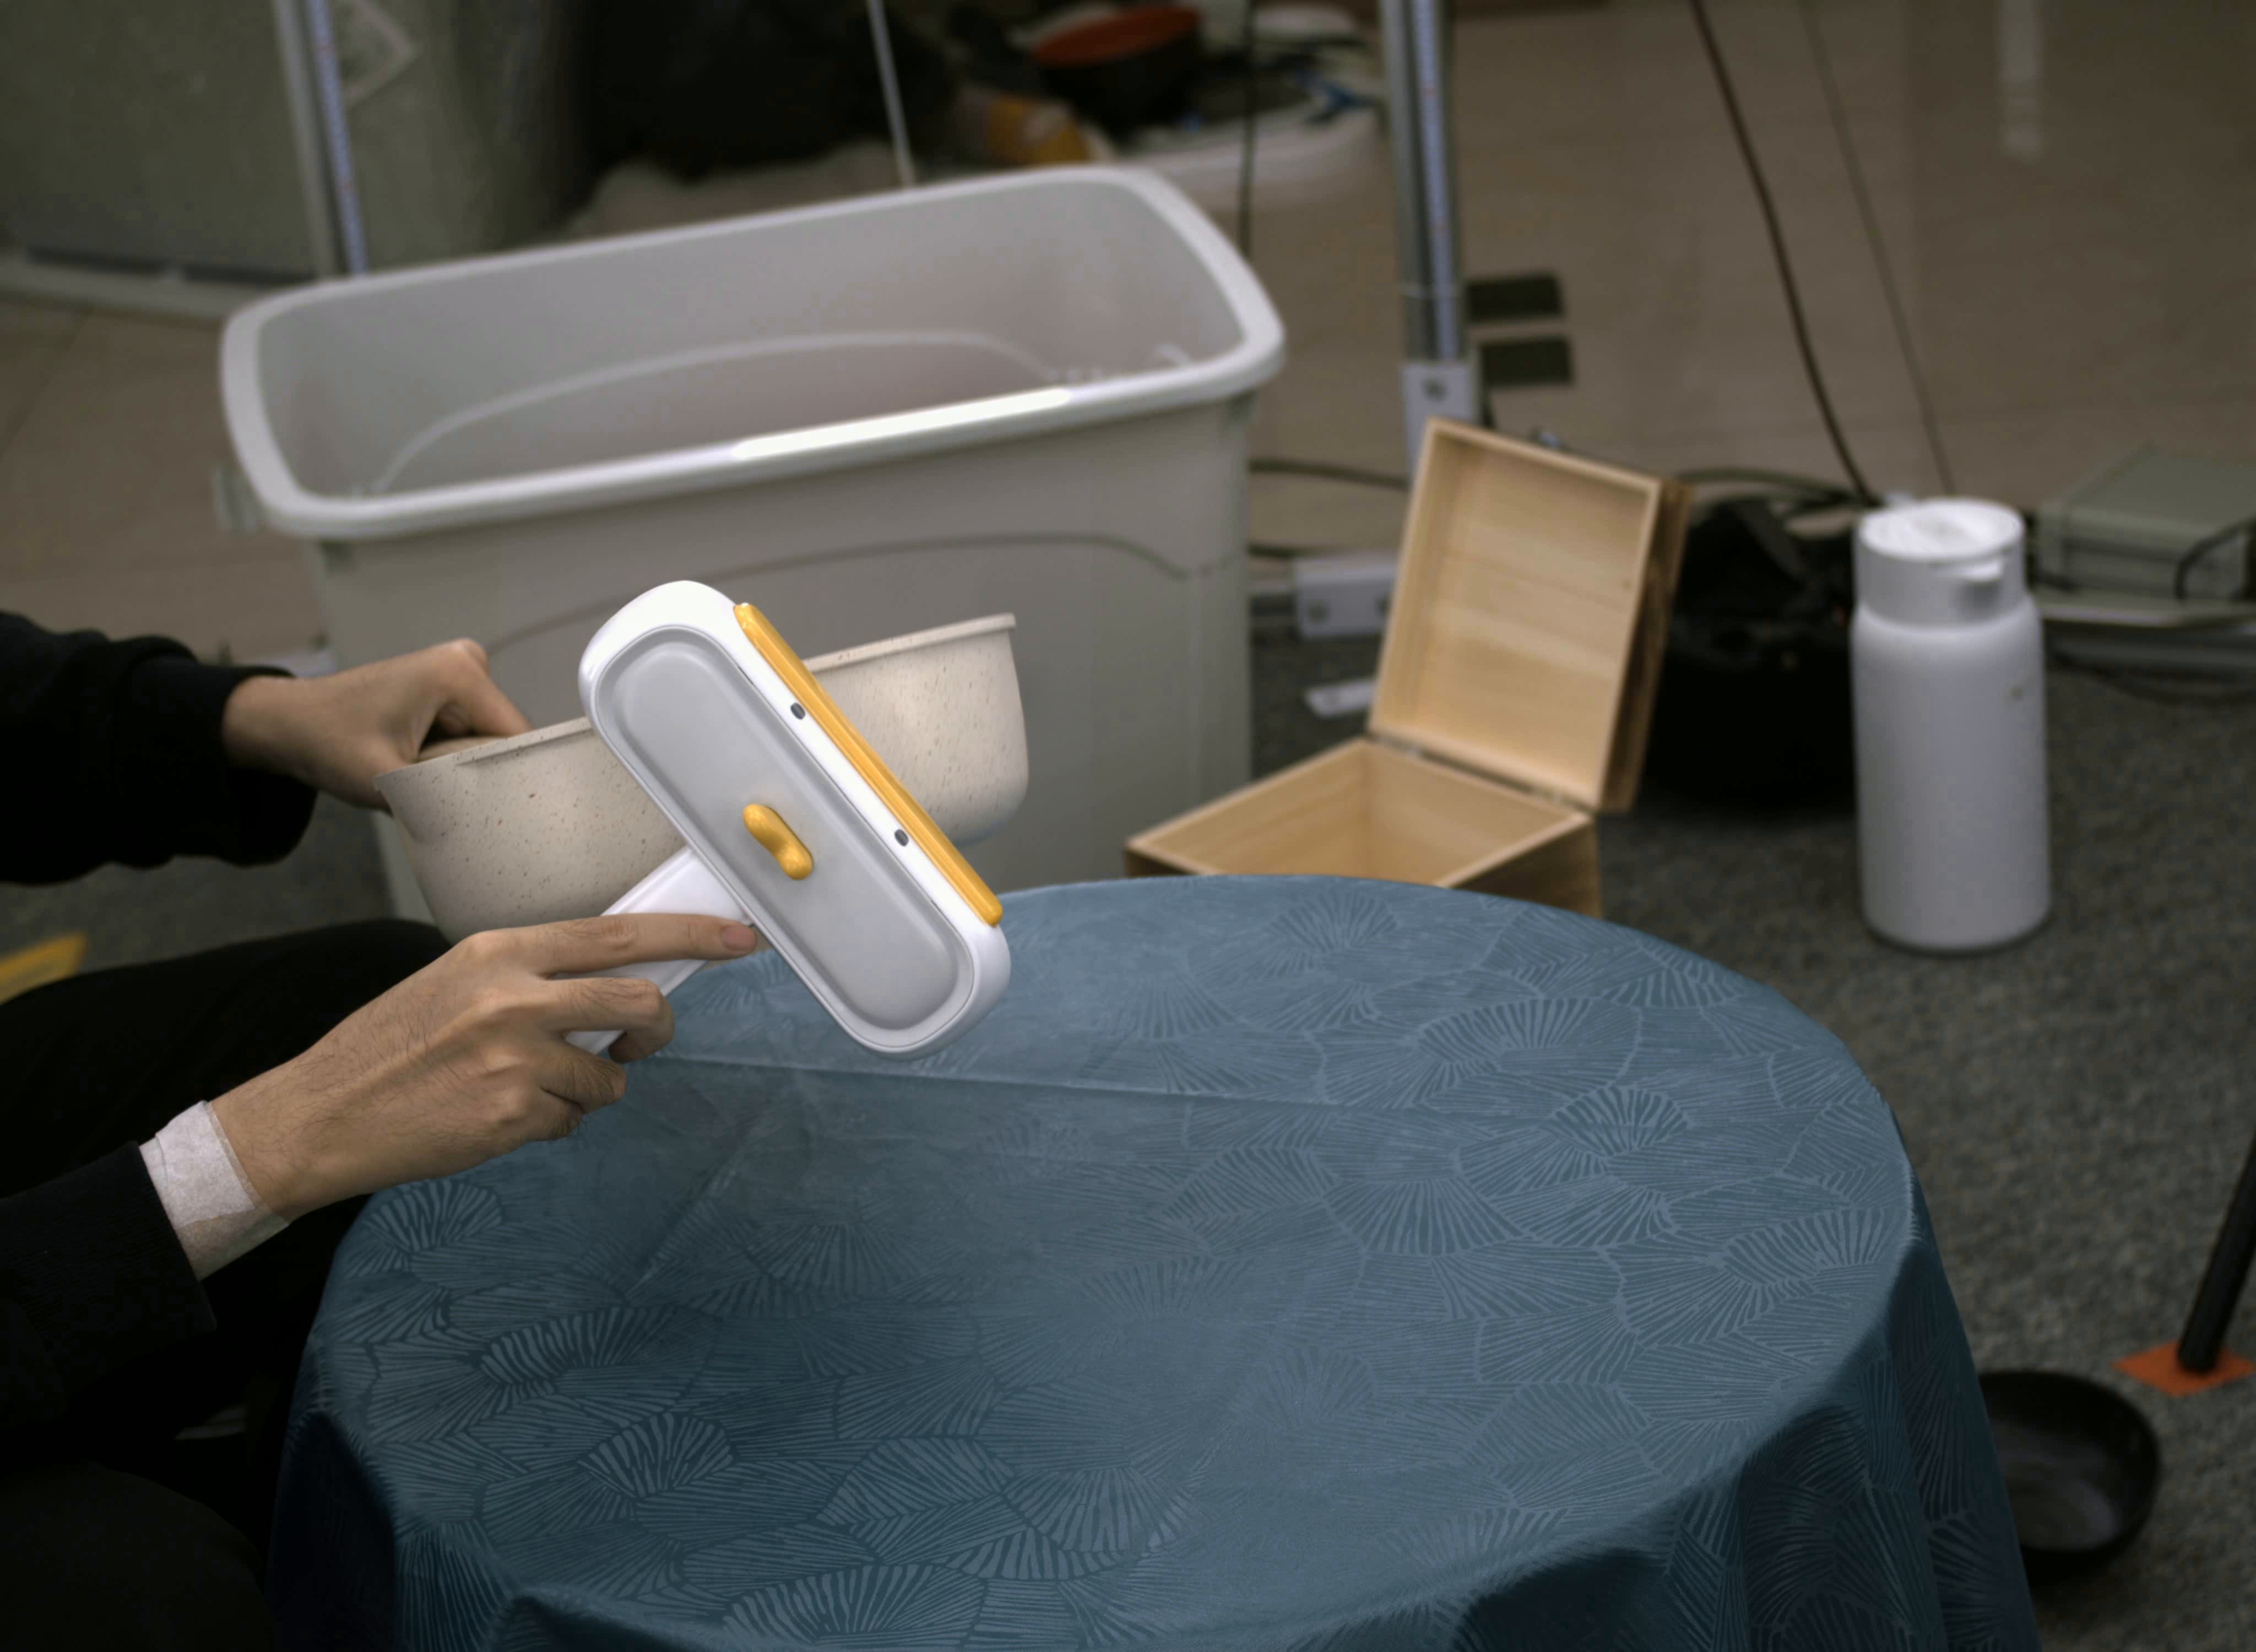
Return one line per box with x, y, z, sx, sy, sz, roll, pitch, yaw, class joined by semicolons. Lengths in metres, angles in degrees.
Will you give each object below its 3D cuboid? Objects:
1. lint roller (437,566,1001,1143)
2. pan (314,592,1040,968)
-0.165;0.034;1.987;0.193;0.194;0.073;-42;12;4;lint roller
-0.202;-0.008;2.219;0.262;0.102;0.436;-19;3;-34;pan
